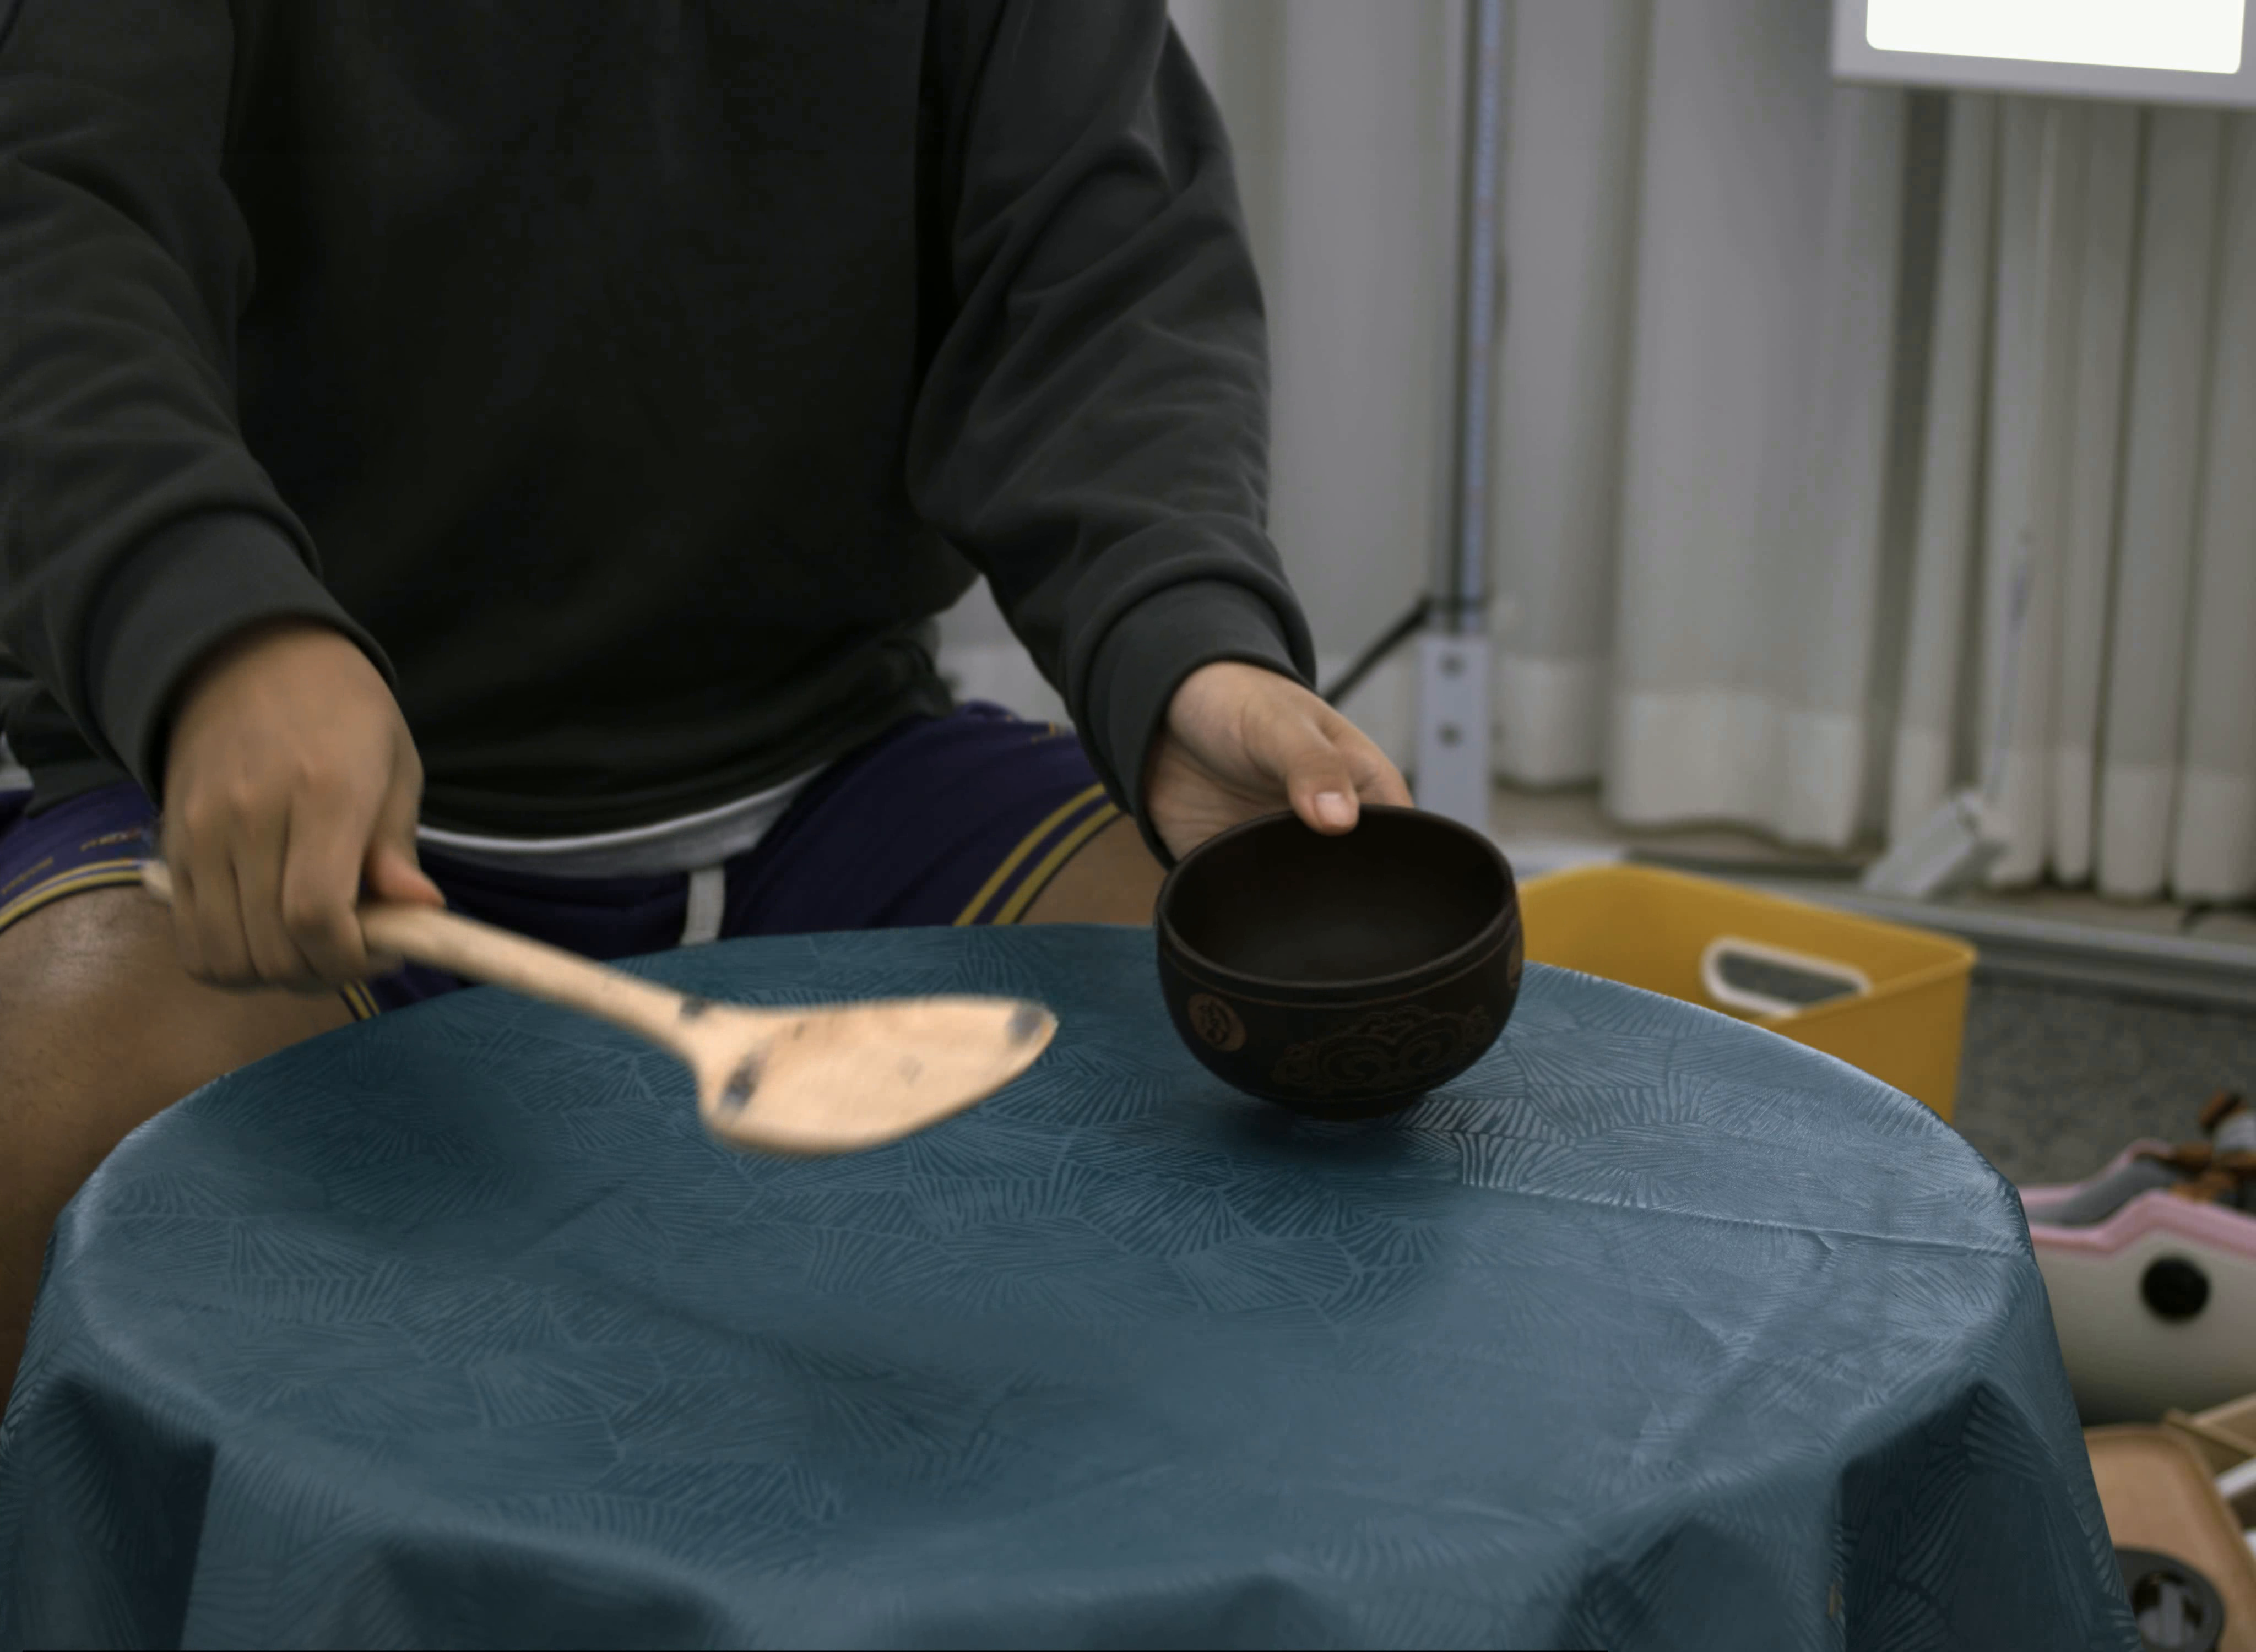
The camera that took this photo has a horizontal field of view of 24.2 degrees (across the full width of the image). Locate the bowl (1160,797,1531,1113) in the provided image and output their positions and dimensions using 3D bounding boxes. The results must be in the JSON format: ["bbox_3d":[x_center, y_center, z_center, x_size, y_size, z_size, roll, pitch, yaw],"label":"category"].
[{"bbox_3d":[0.071,0.048,1.683,0.117,0.070,0.117,-3,30,2],"label":"bowl"}]

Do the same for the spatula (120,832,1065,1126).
[{"bbox_3d":[-0.177,0.038,1.530,0.385,0.018,0.096,13,27,41],"label":"spatula"}]
